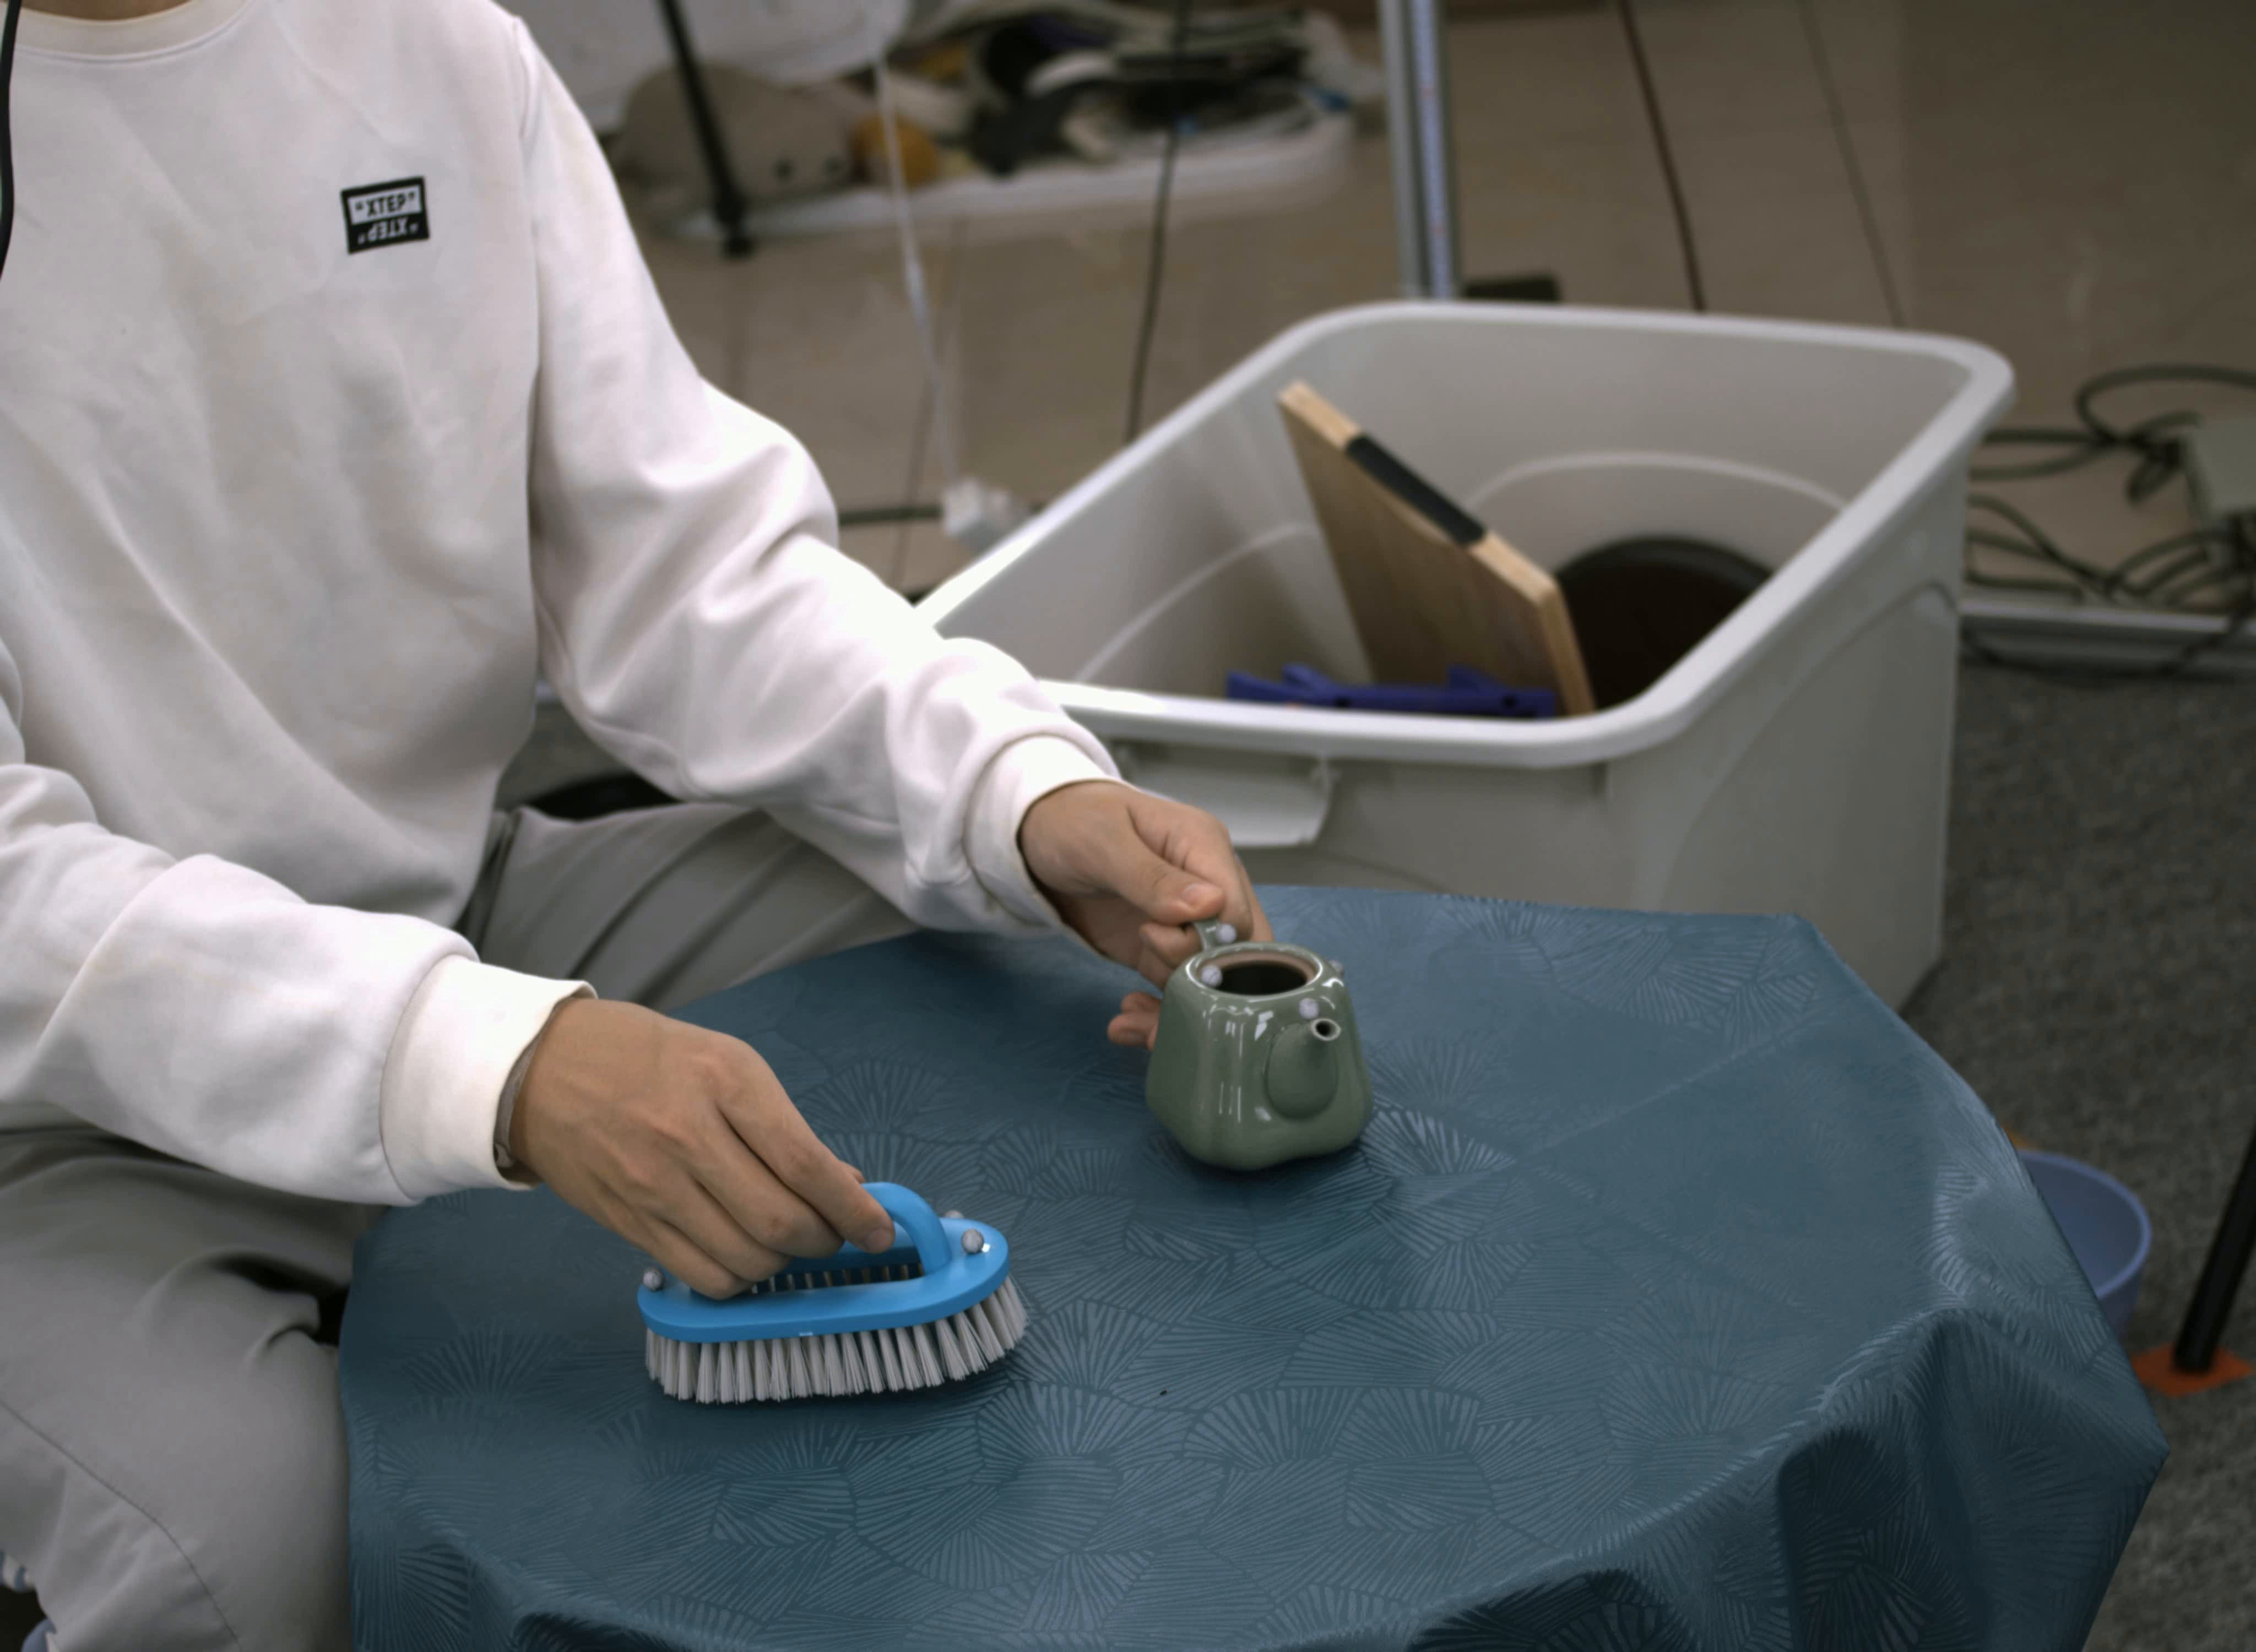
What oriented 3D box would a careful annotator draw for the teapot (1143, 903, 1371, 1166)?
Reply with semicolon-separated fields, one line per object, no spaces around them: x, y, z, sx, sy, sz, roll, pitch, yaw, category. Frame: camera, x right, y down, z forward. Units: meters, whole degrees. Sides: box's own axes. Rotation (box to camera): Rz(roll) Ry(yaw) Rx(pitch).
0.049;0.083;2.159;0.079;0.076;0.131;-10;25;-21;teapot

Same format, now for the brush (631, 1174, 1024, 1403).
-0.112;0.158;2.040;0.141;0.065;0.083;-6;28;13;brush
